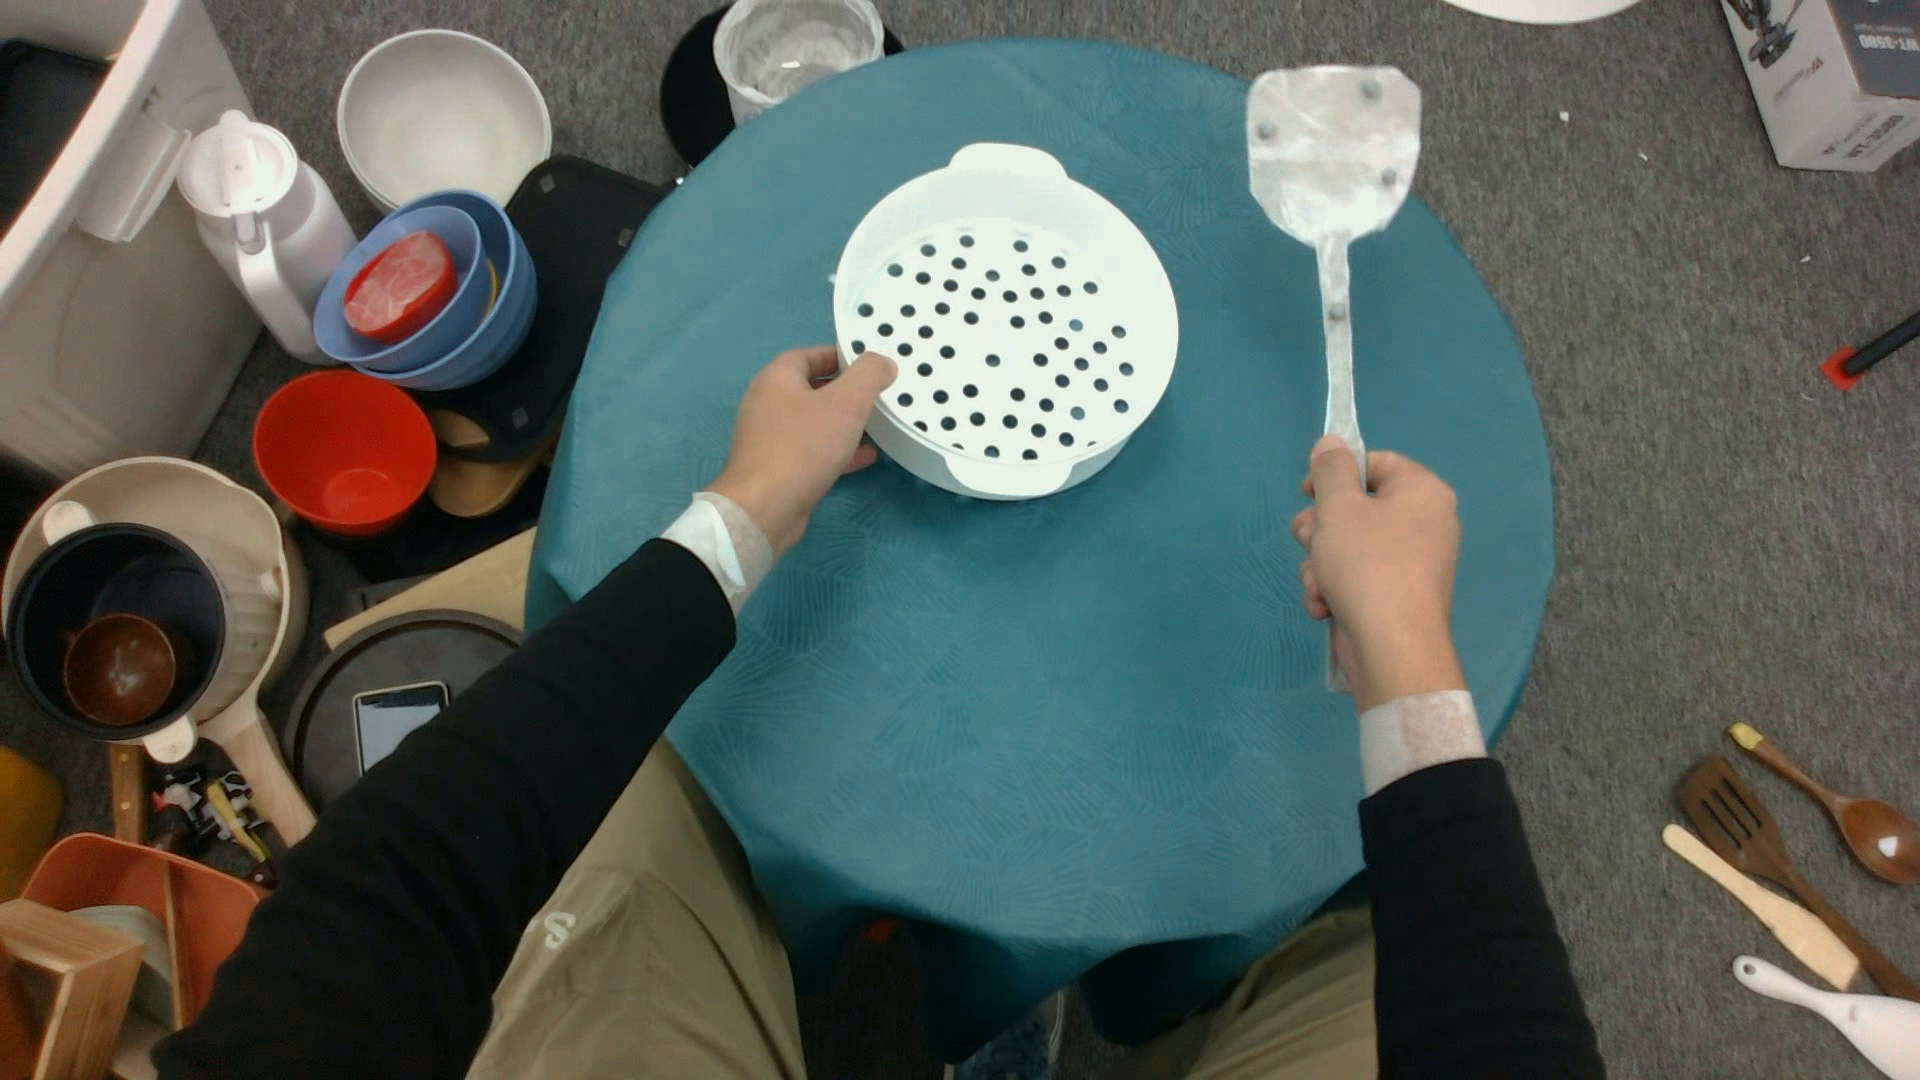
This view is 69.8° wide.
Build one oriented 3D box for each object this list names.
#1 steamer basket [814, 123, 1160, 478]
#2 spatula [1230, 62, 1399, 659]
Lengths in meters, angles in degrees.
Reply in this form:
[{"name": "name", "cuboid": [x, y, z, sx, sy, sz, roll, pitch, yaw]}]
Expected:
[{"name": "steamer basket", "cuboid": [0.013, -0.134, 0.818, 0.202, 0.069, 0.231, 4, 69, -7]}, {"name": "spatula", "cuboid": [0.191, -0.110, 0.744, 0.098, 0.044, 0.366, 6, 62, 2]}]
